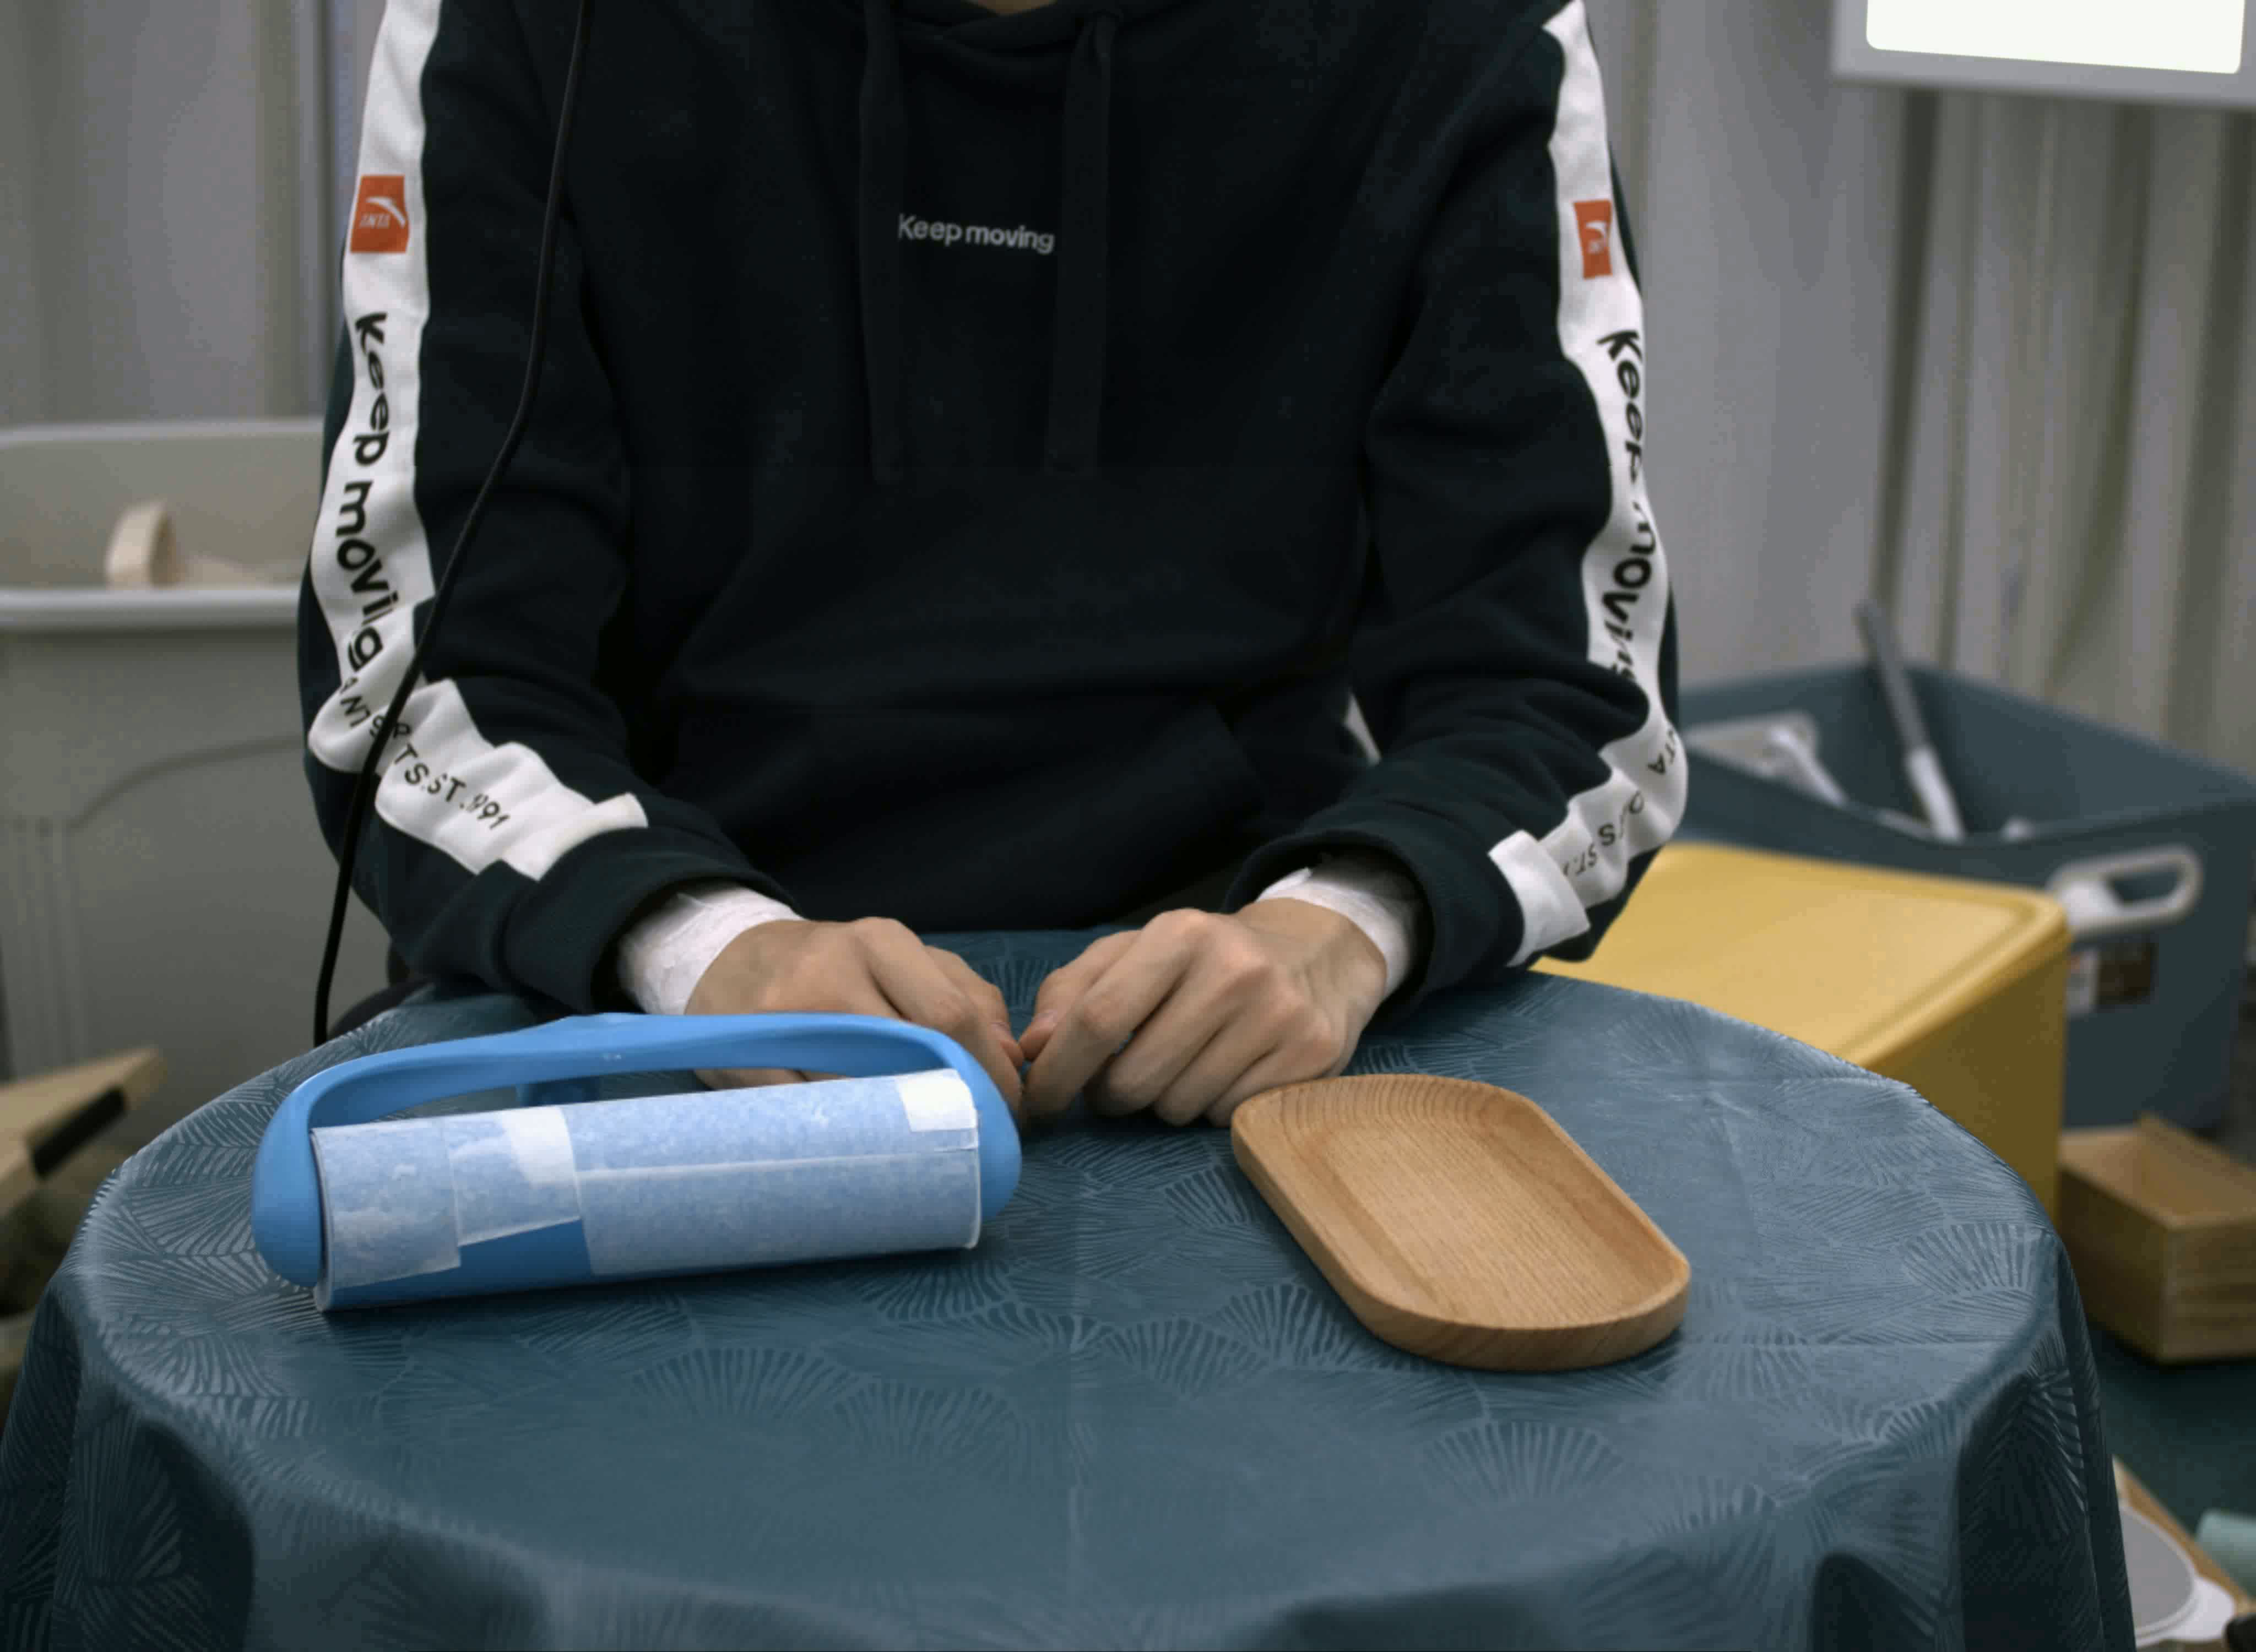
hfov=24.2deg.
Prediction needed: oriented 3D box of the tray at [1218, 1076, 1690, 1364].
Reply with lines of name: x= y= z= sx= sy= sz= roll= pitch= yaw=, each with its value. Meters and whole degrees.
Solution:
tray: x=0.095 y=0.116 z=1.581 sx=0.102 sy=0.020 sz=0.229 roll=-2 pitch=14 yaw=-15

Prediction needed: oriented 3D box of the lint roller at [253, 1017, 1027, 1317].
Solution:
lint roller: x=-0.160 y=0.089 z=1.589 sx=0.229 sy=0.068 sz=0.178 roll=-7 pitch=18 yaw=-18
